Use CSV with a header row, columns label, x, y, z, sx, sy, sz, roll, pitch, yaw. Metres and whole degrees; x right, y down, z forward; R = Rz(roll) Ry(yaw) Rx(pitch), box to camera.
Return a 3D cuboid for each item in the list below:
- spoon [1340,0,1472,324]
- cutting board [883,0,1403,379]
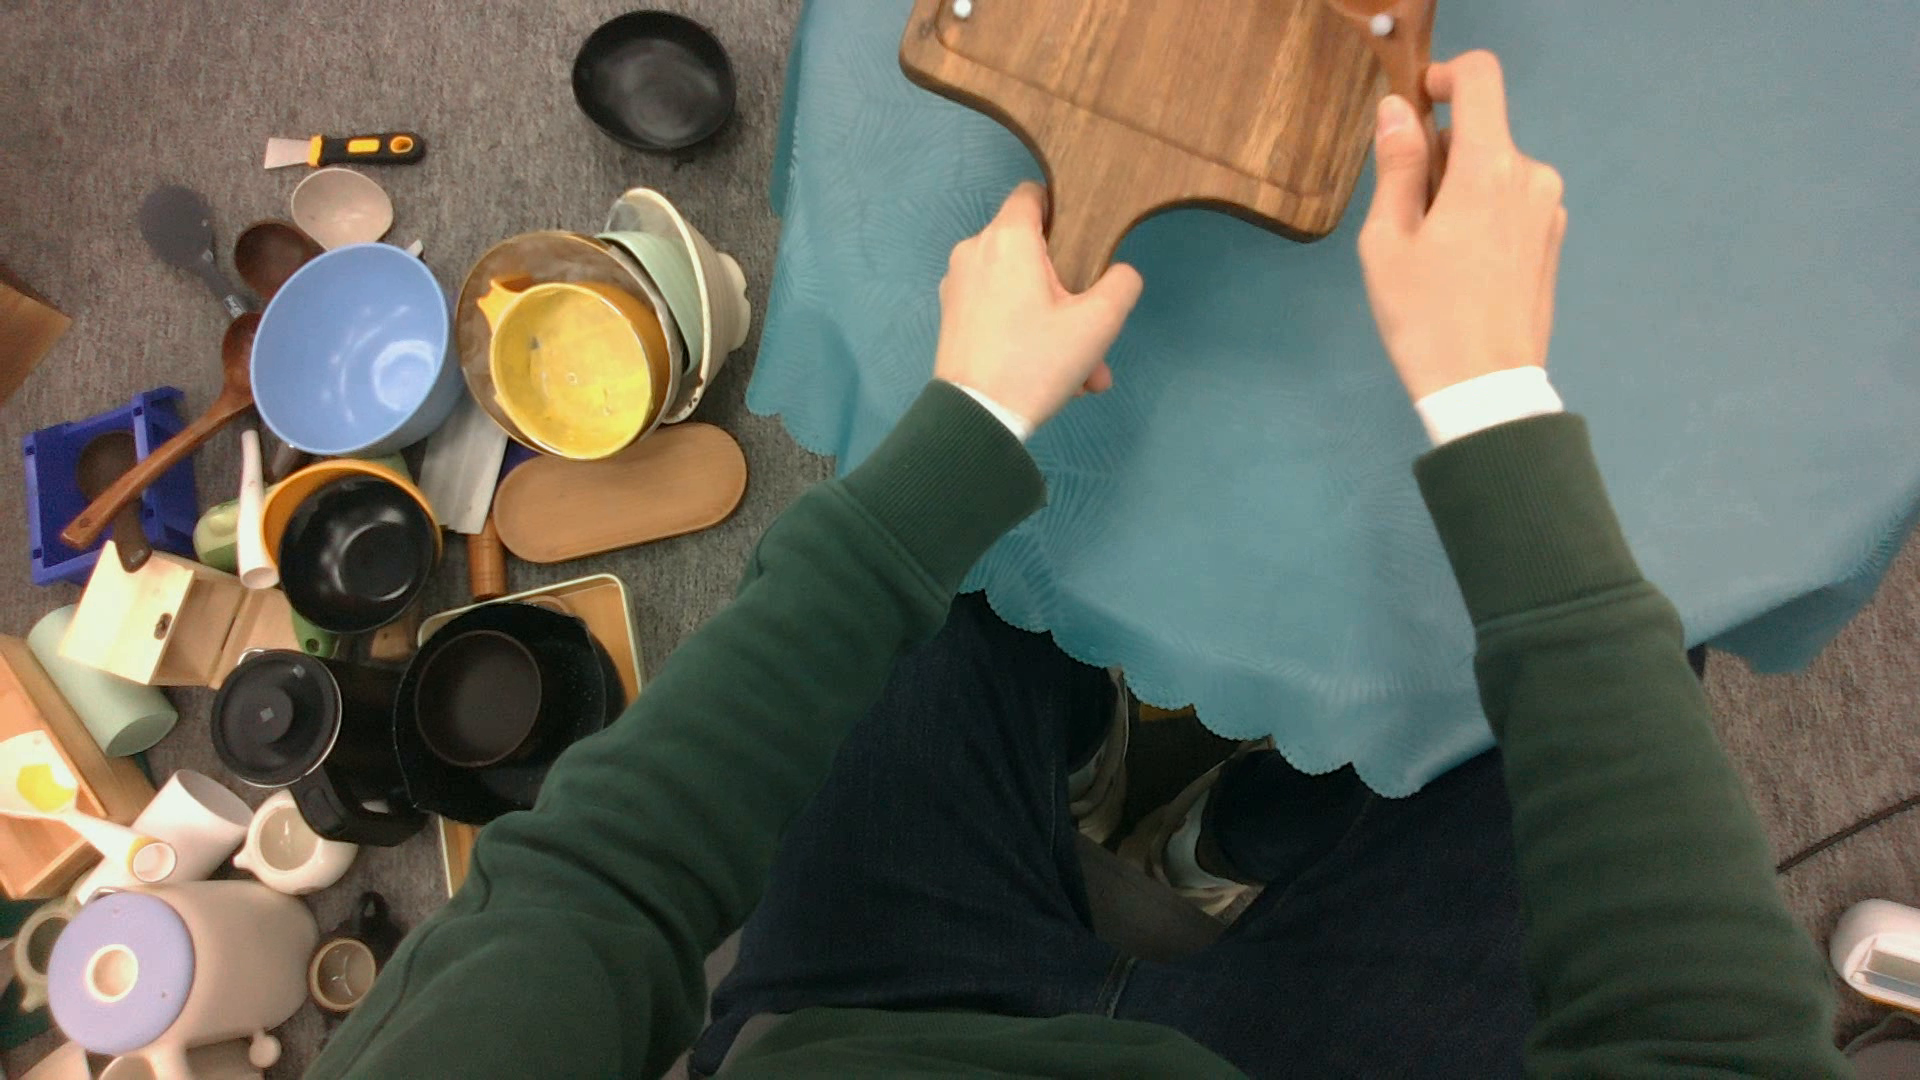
label,x,y,z,sx,sy,sz,roll,pitch,yaw
spoon,0.167,-0.188,0.516,0.017,0.075,0.216,-5,86,-32
cutting board,0.083,-0.234,0.575,0.201,0.023,0.352,21,90,-6
